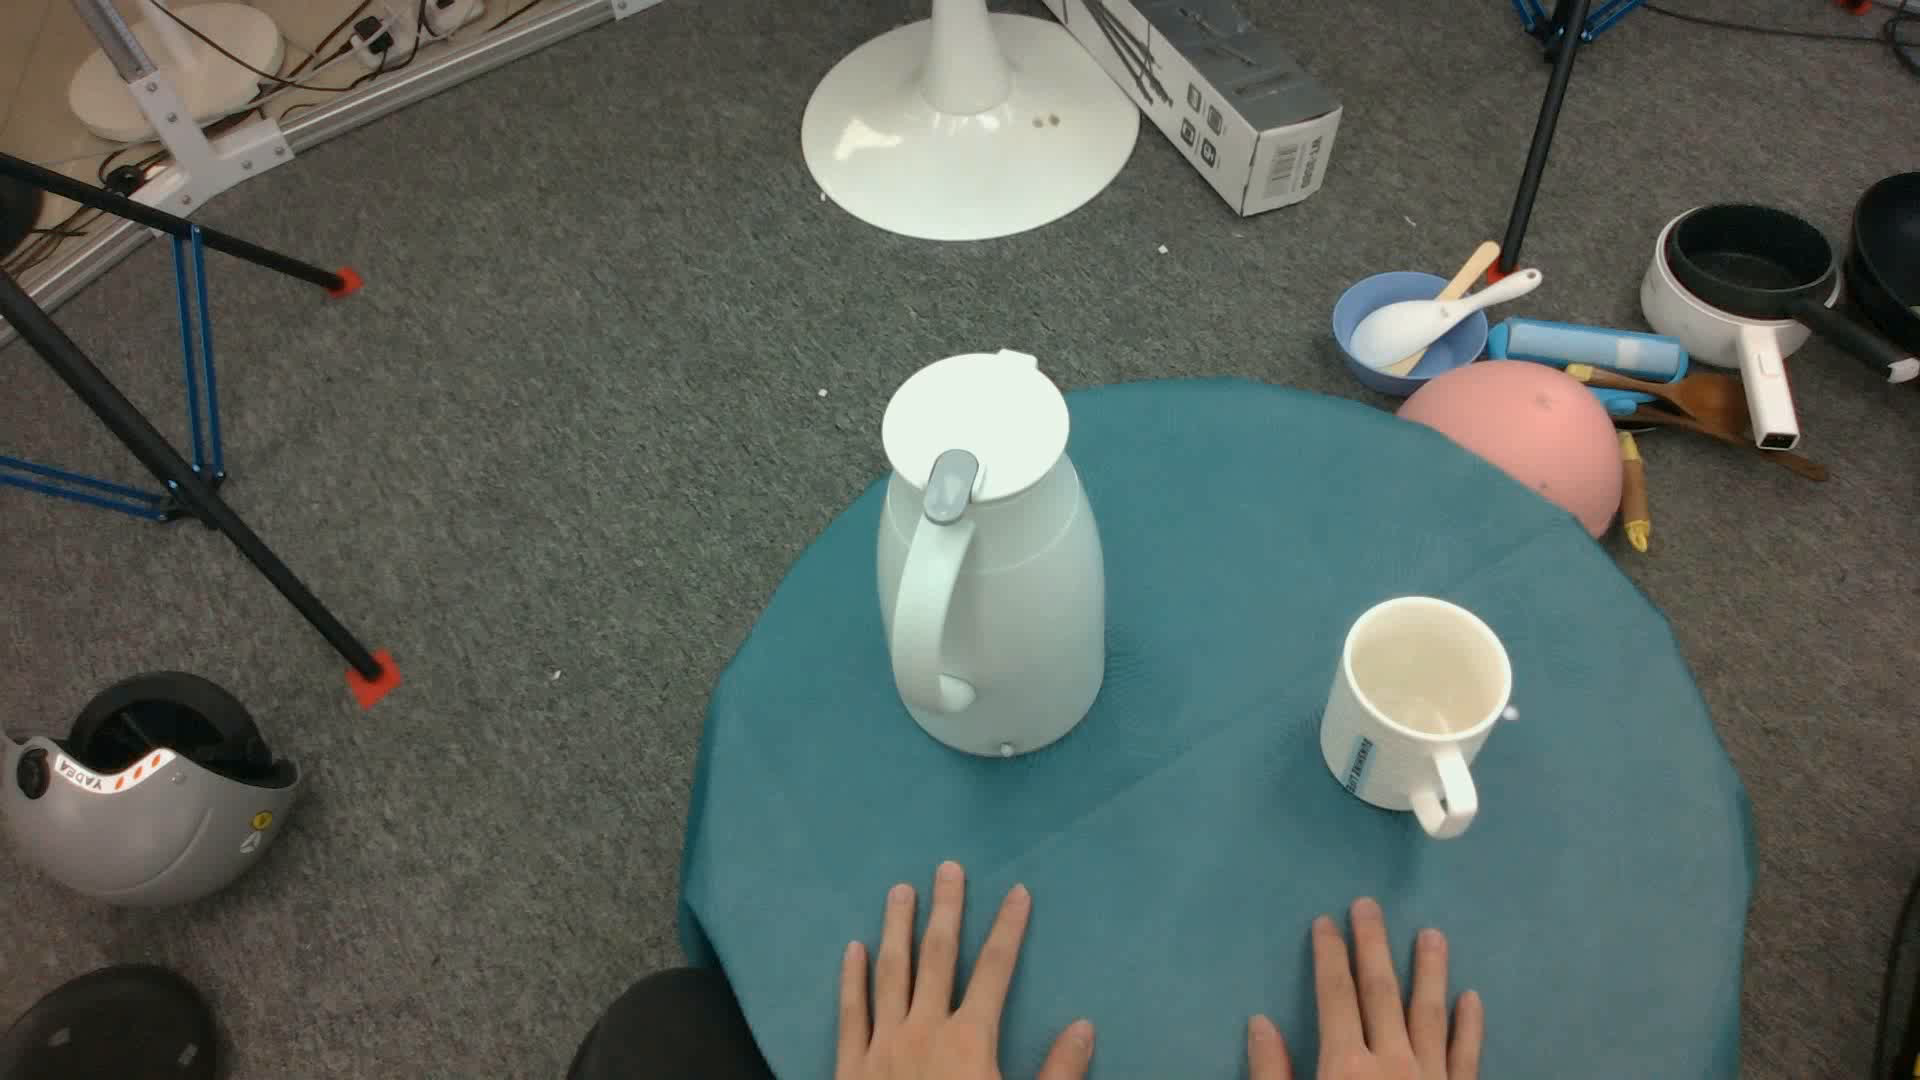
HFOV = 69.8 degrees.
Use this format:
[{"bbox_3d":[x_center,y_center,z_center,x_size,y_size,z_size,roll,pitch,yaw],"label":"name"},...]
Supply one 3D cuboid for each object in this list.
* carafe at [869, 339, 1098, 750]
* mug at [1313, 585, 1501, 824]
[{"bbox_3d":[0.007,0.019,0.751,0.132,0.247,0.168,14,59,13],"label":"carafe"},{"bbox_3d":[0.250,0.101,0.765,0.085,0.101,0.118,-10,56,-2],"label":"mug"}]
